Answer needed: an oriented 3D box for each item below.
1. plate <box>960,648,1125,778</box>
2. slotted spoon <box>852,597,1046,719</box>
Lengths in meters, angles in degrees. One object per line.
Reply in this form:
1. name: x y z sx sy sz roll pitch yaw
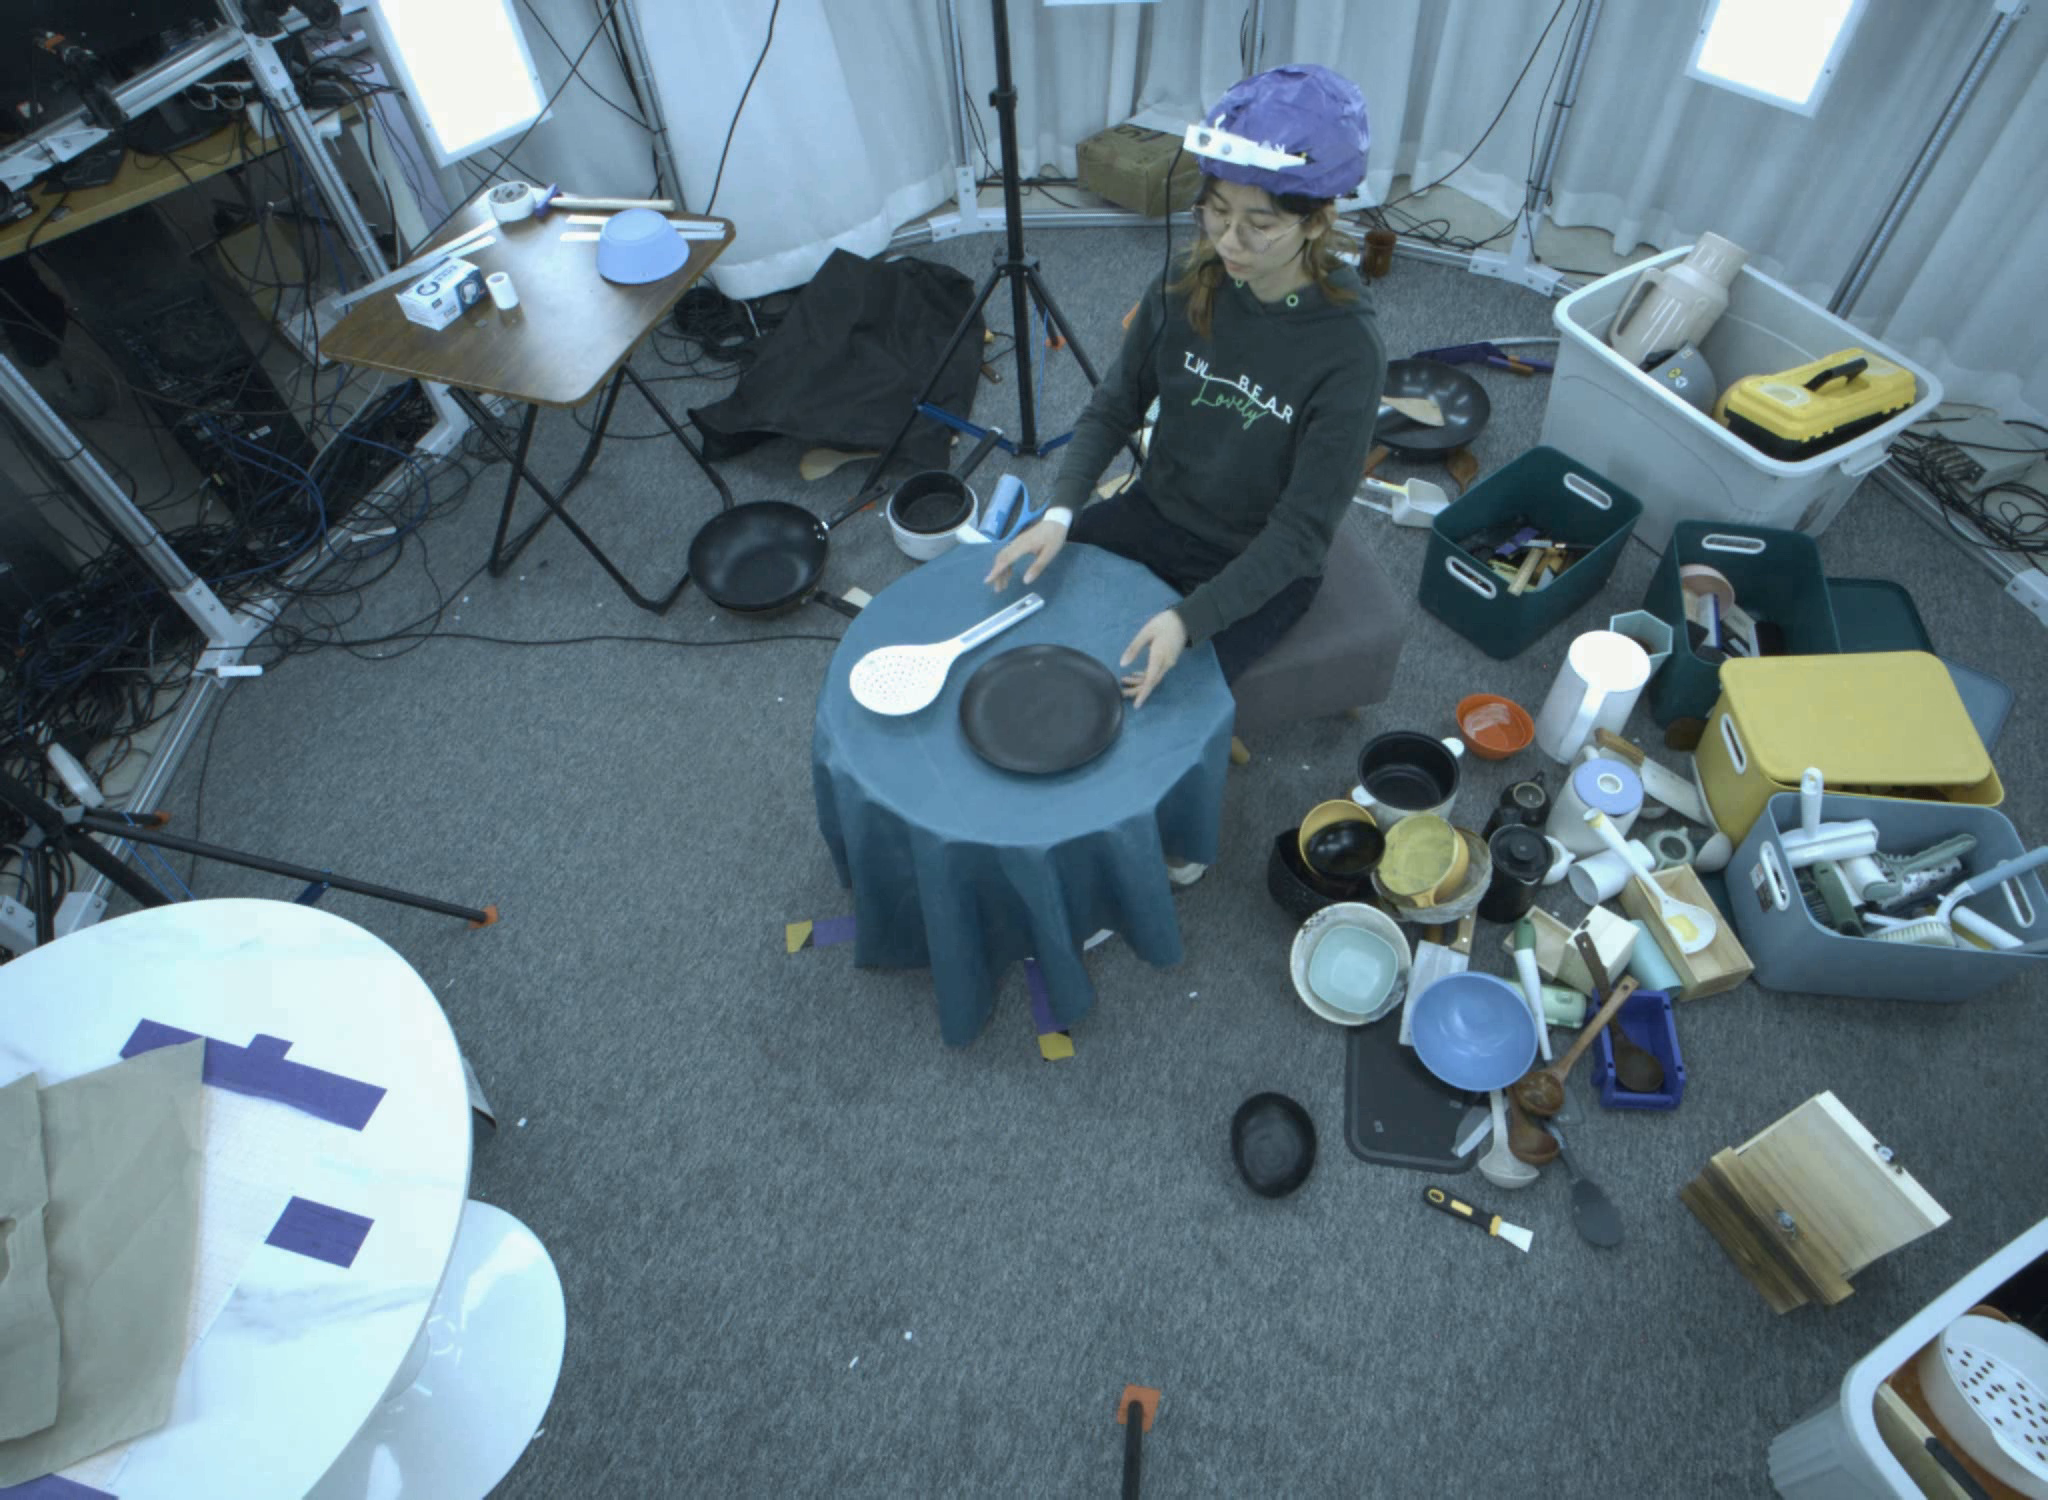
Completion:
1. plate: 0.027 -0.054 1.820 0.244 0.023 0.242 0 55 2
2. slotted spoon: -0.106 -0.150 1.878 0.352 0.046 0.133 -35 63 -22
